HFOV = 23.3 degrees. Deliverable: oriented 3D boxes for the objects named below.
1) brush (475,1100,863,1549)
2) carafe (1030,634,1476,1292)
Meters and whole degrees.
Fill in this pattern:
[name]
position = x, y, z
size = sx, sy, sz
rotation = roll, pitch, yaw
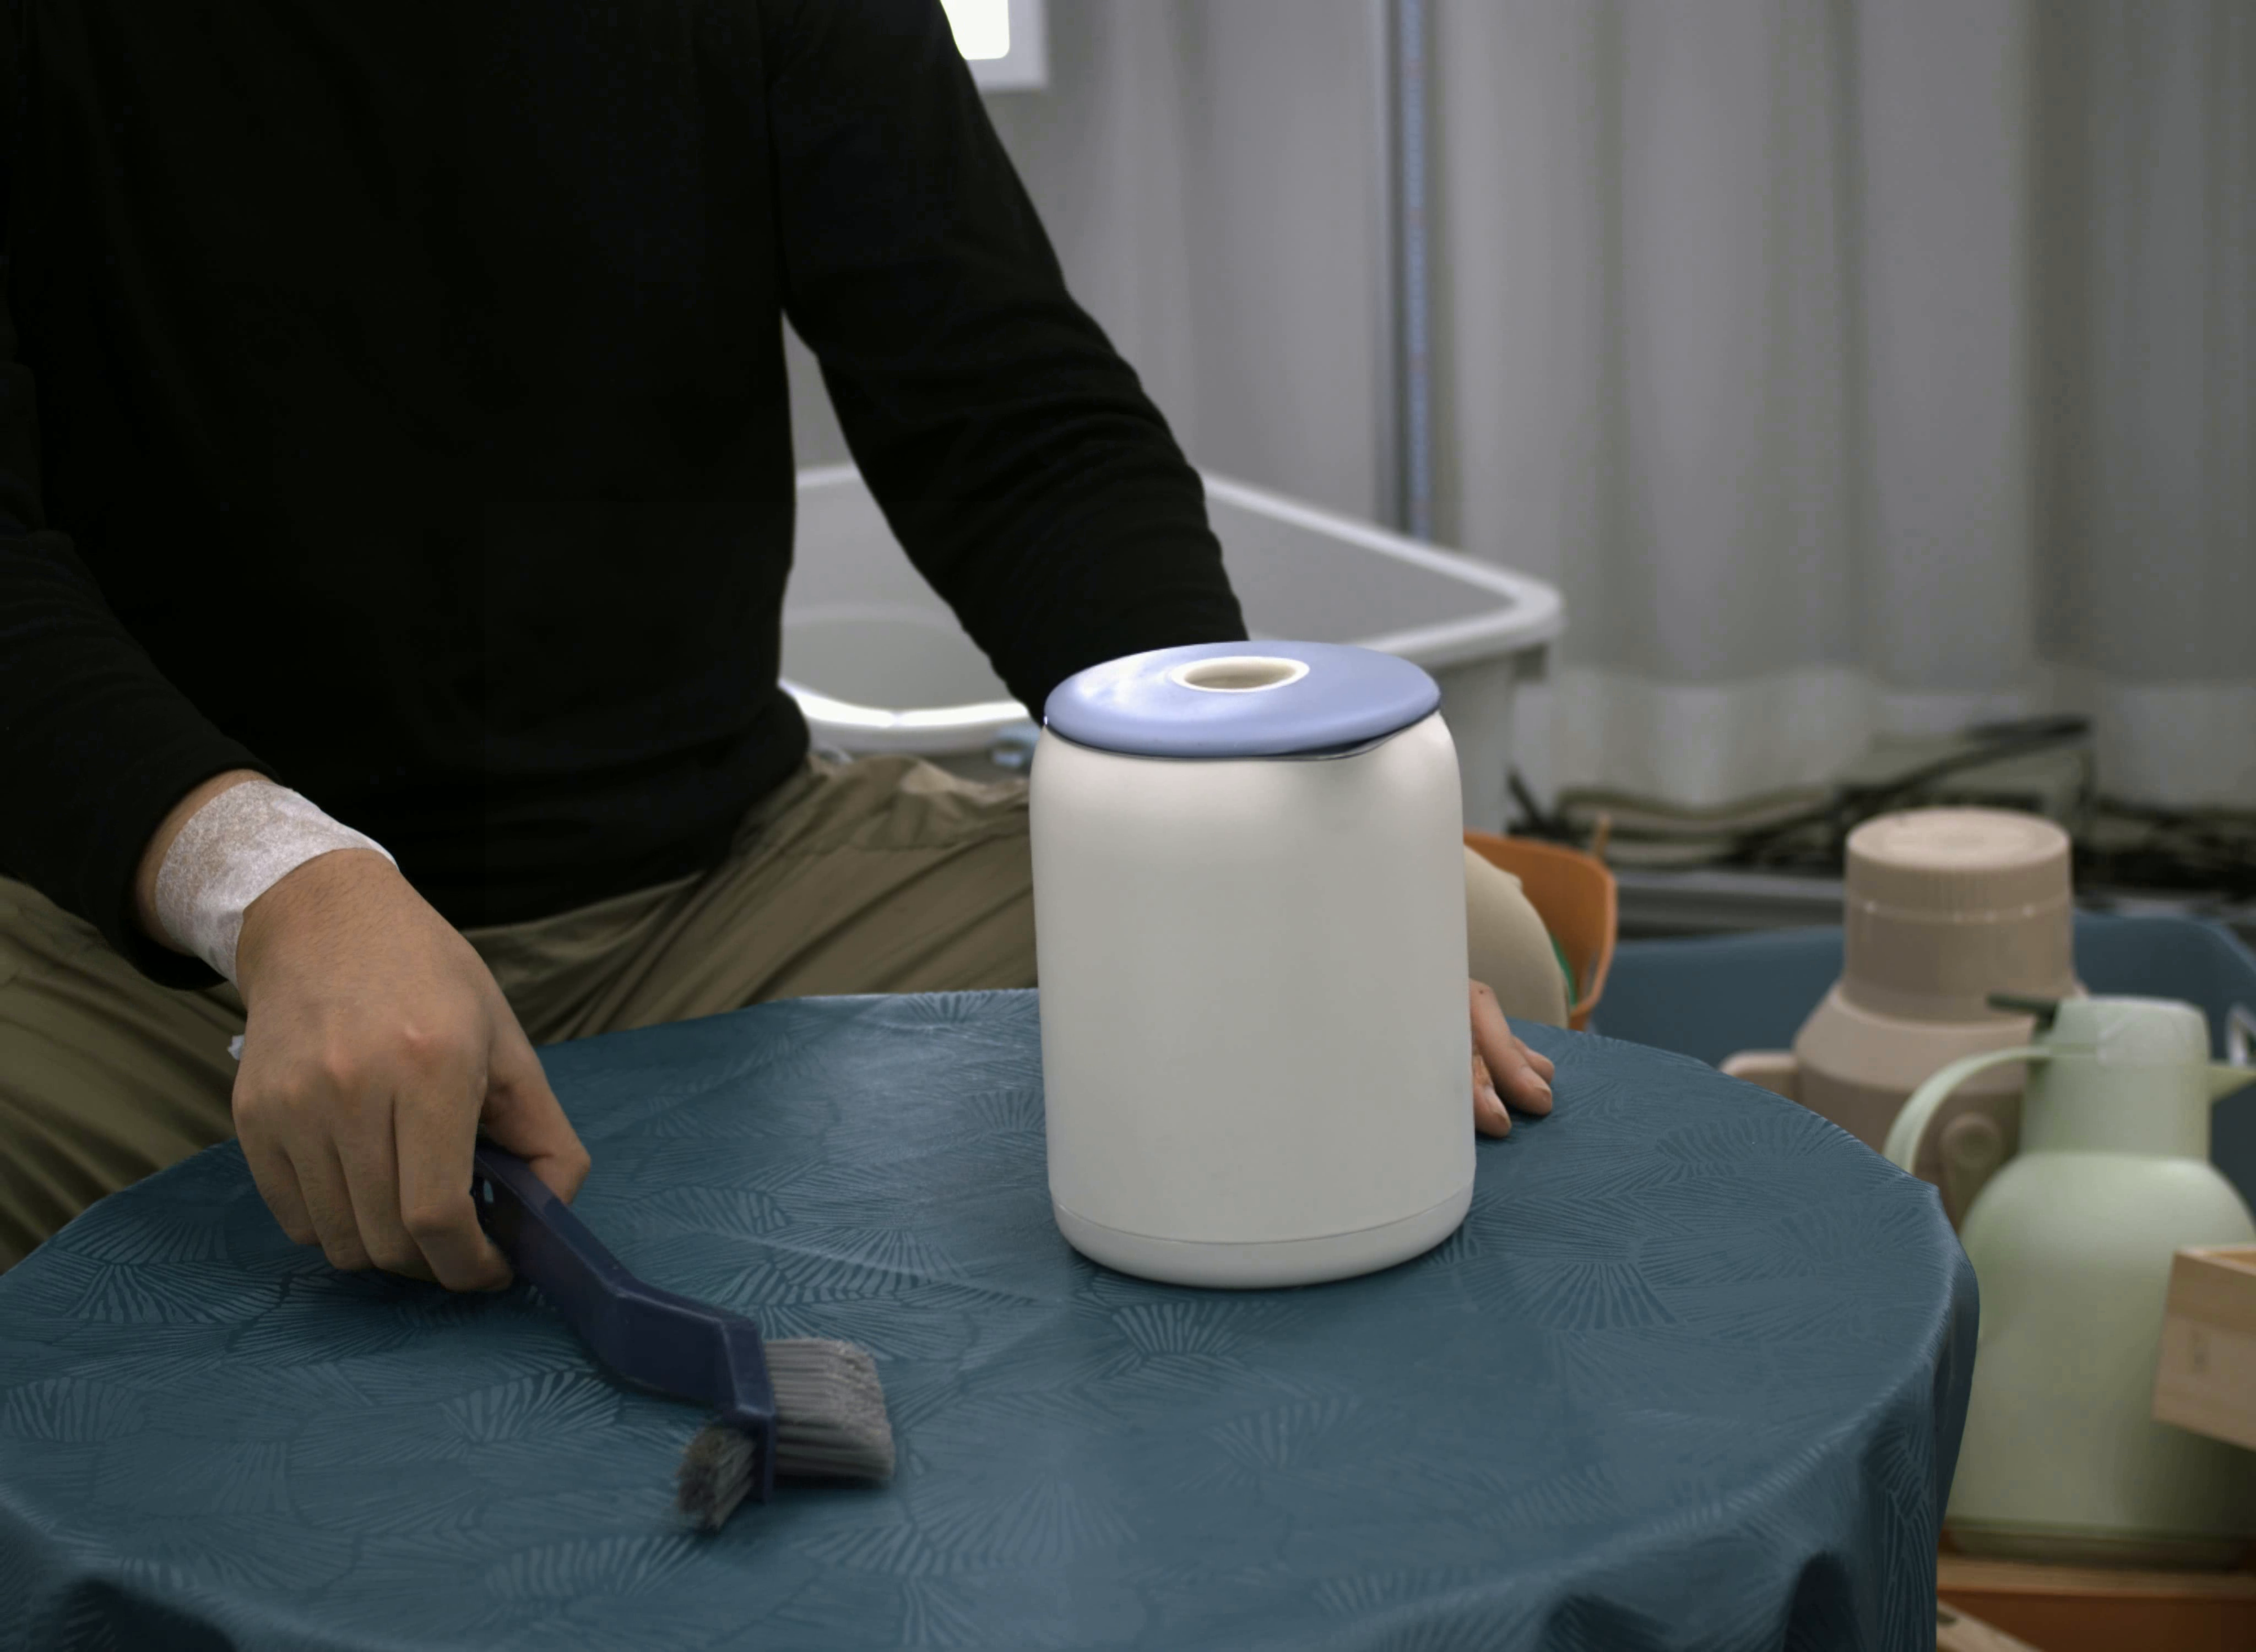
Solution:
[brush]
position = -0.155, 0.139, 1.579
size = 0.095, 0.033, 0.275
rotation = -11, 20, -30
[carafe]
position = 0.027, 0.035, 1.677
size = 0.131, 0.182, 0.192
rotation = -9, 14, -26
